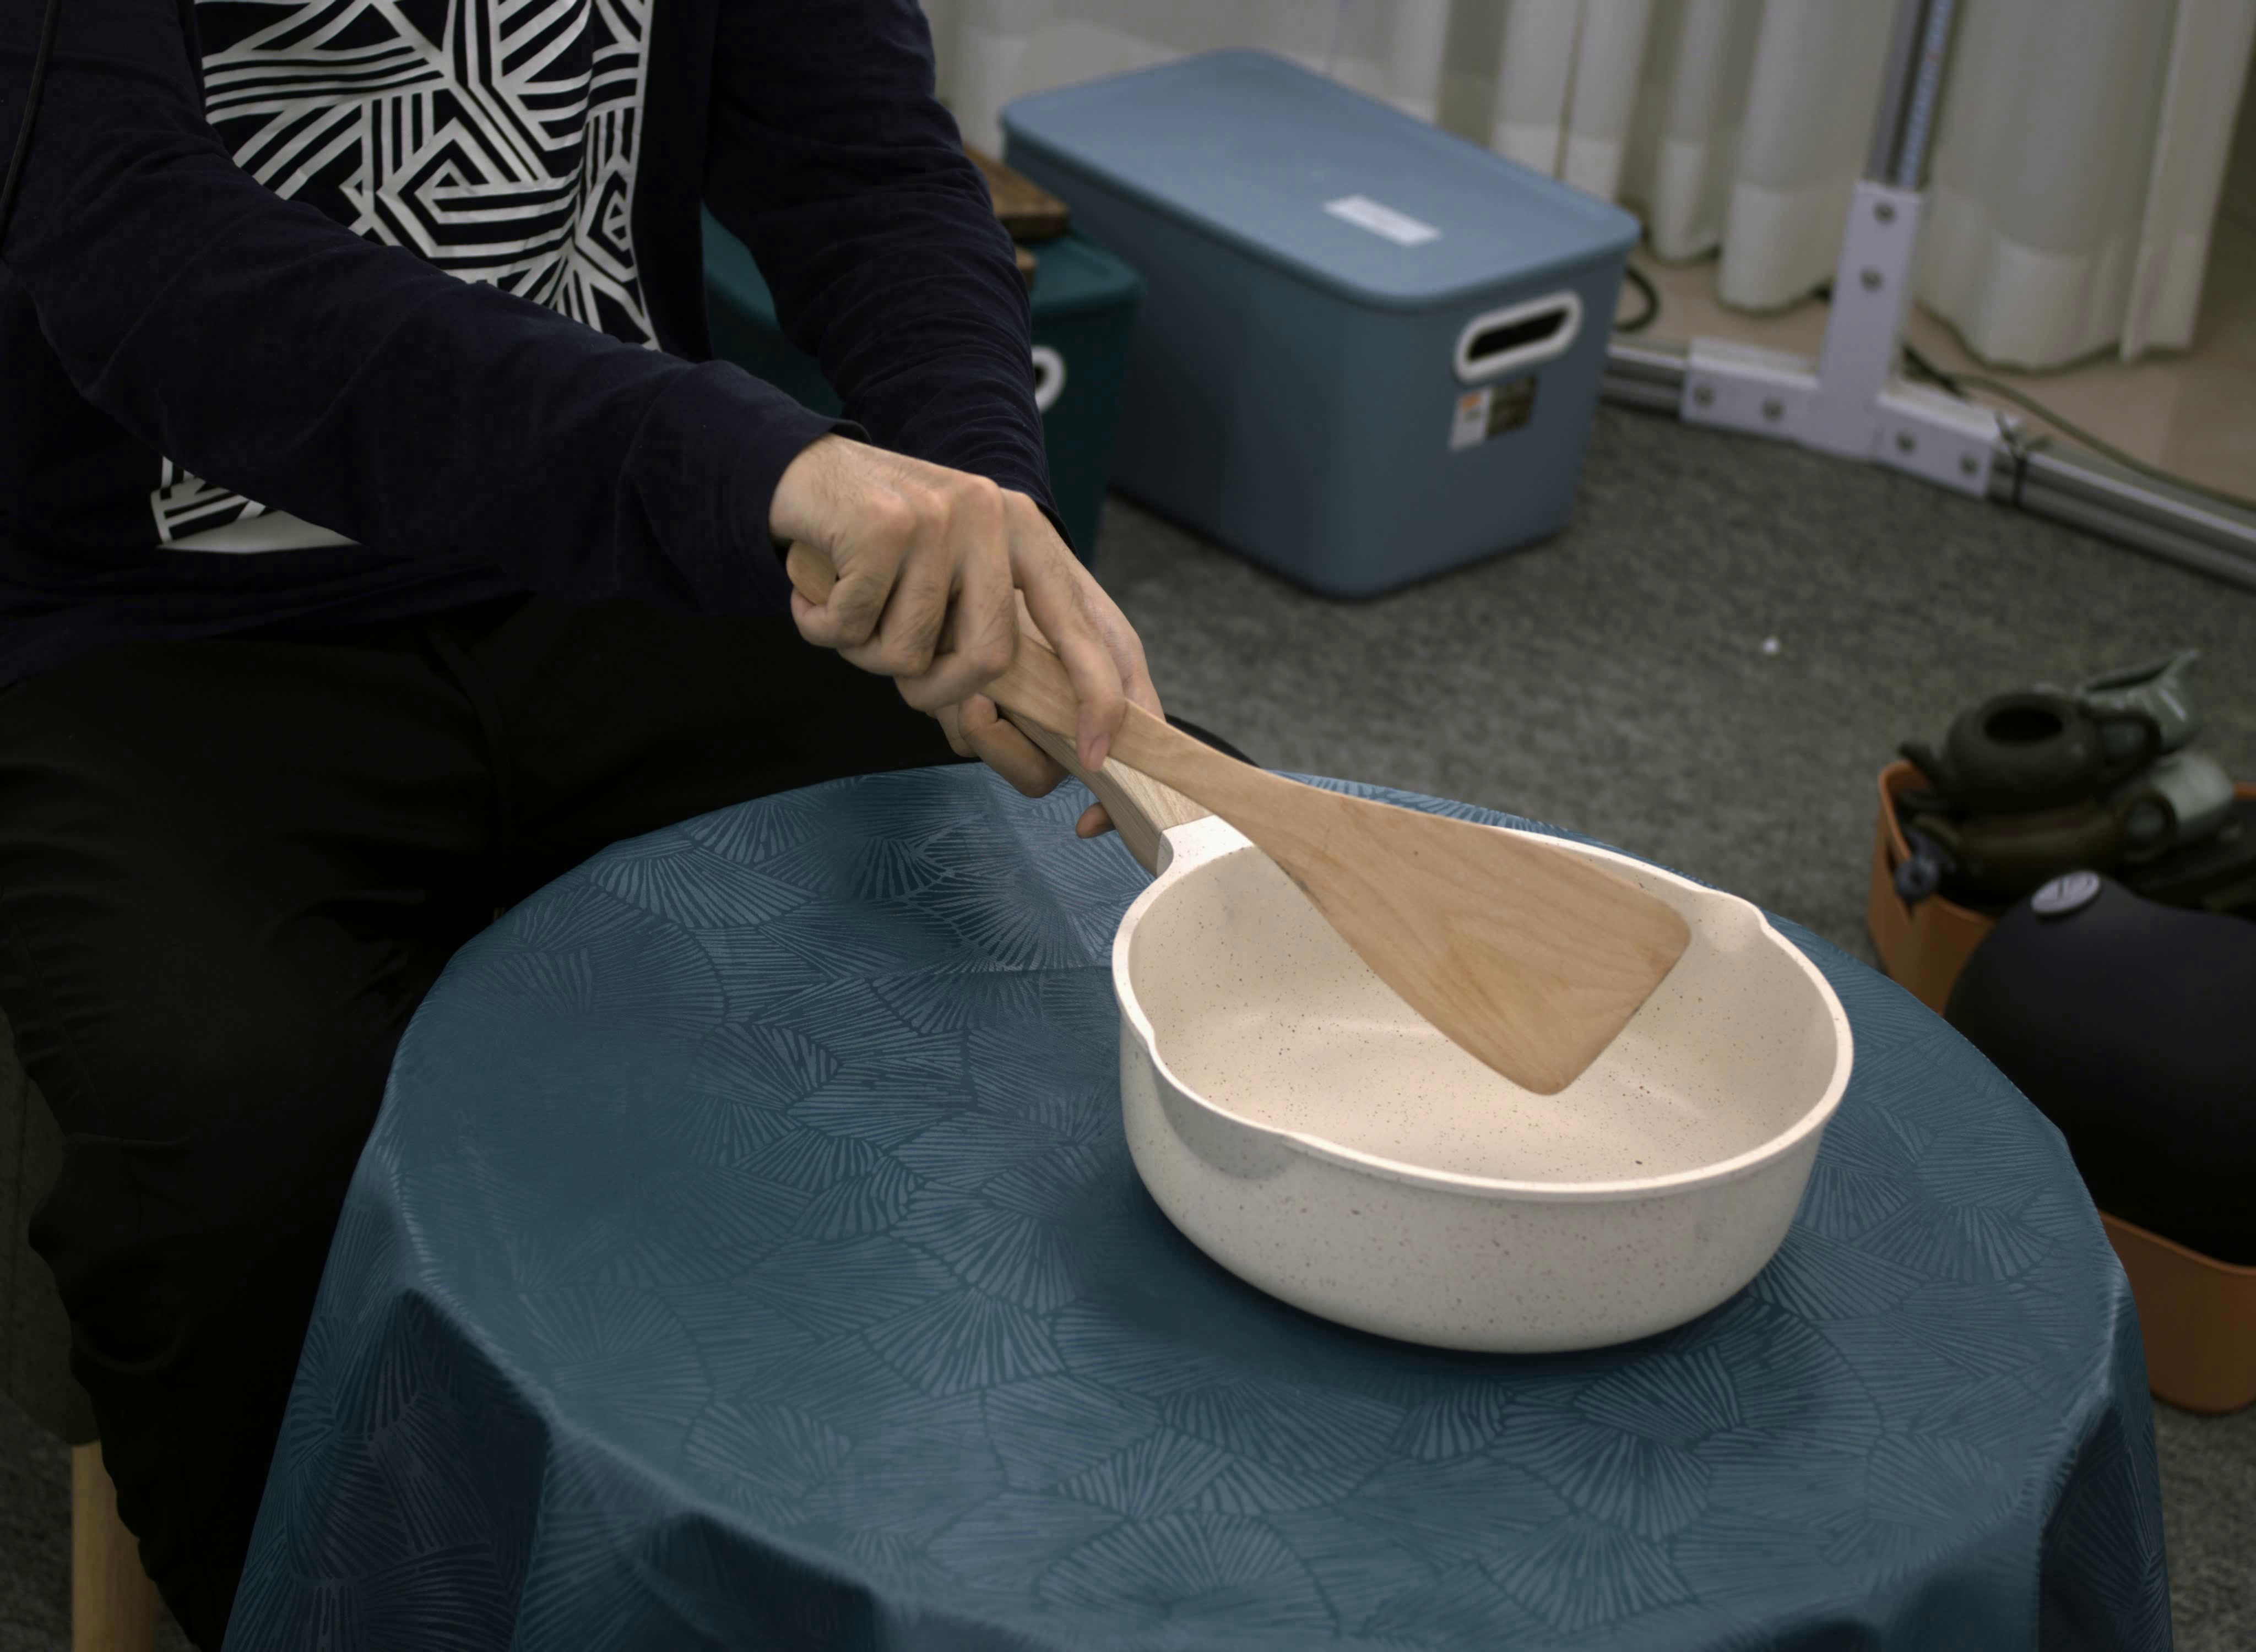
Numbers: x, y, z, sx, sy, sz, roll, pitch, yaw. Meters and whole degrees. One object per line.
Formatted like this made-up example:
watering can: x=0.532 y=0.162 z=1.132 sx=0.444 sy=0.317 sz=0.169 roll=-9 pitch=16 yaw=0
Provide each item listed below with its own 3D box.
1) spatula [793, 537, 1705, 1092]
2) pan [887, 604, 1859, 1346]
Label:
spatula: x=0.034 y=-0.012 z=1.782 sx=0.327 sy=0.080 sz=0.016 roll=28 pitch=7 yaw=1
pan: x=0.058 y=0.047 z=1.869 sx=0.262 sy=0.101 sz=0.438 roll=-18 pitch=35 yaw=-38
